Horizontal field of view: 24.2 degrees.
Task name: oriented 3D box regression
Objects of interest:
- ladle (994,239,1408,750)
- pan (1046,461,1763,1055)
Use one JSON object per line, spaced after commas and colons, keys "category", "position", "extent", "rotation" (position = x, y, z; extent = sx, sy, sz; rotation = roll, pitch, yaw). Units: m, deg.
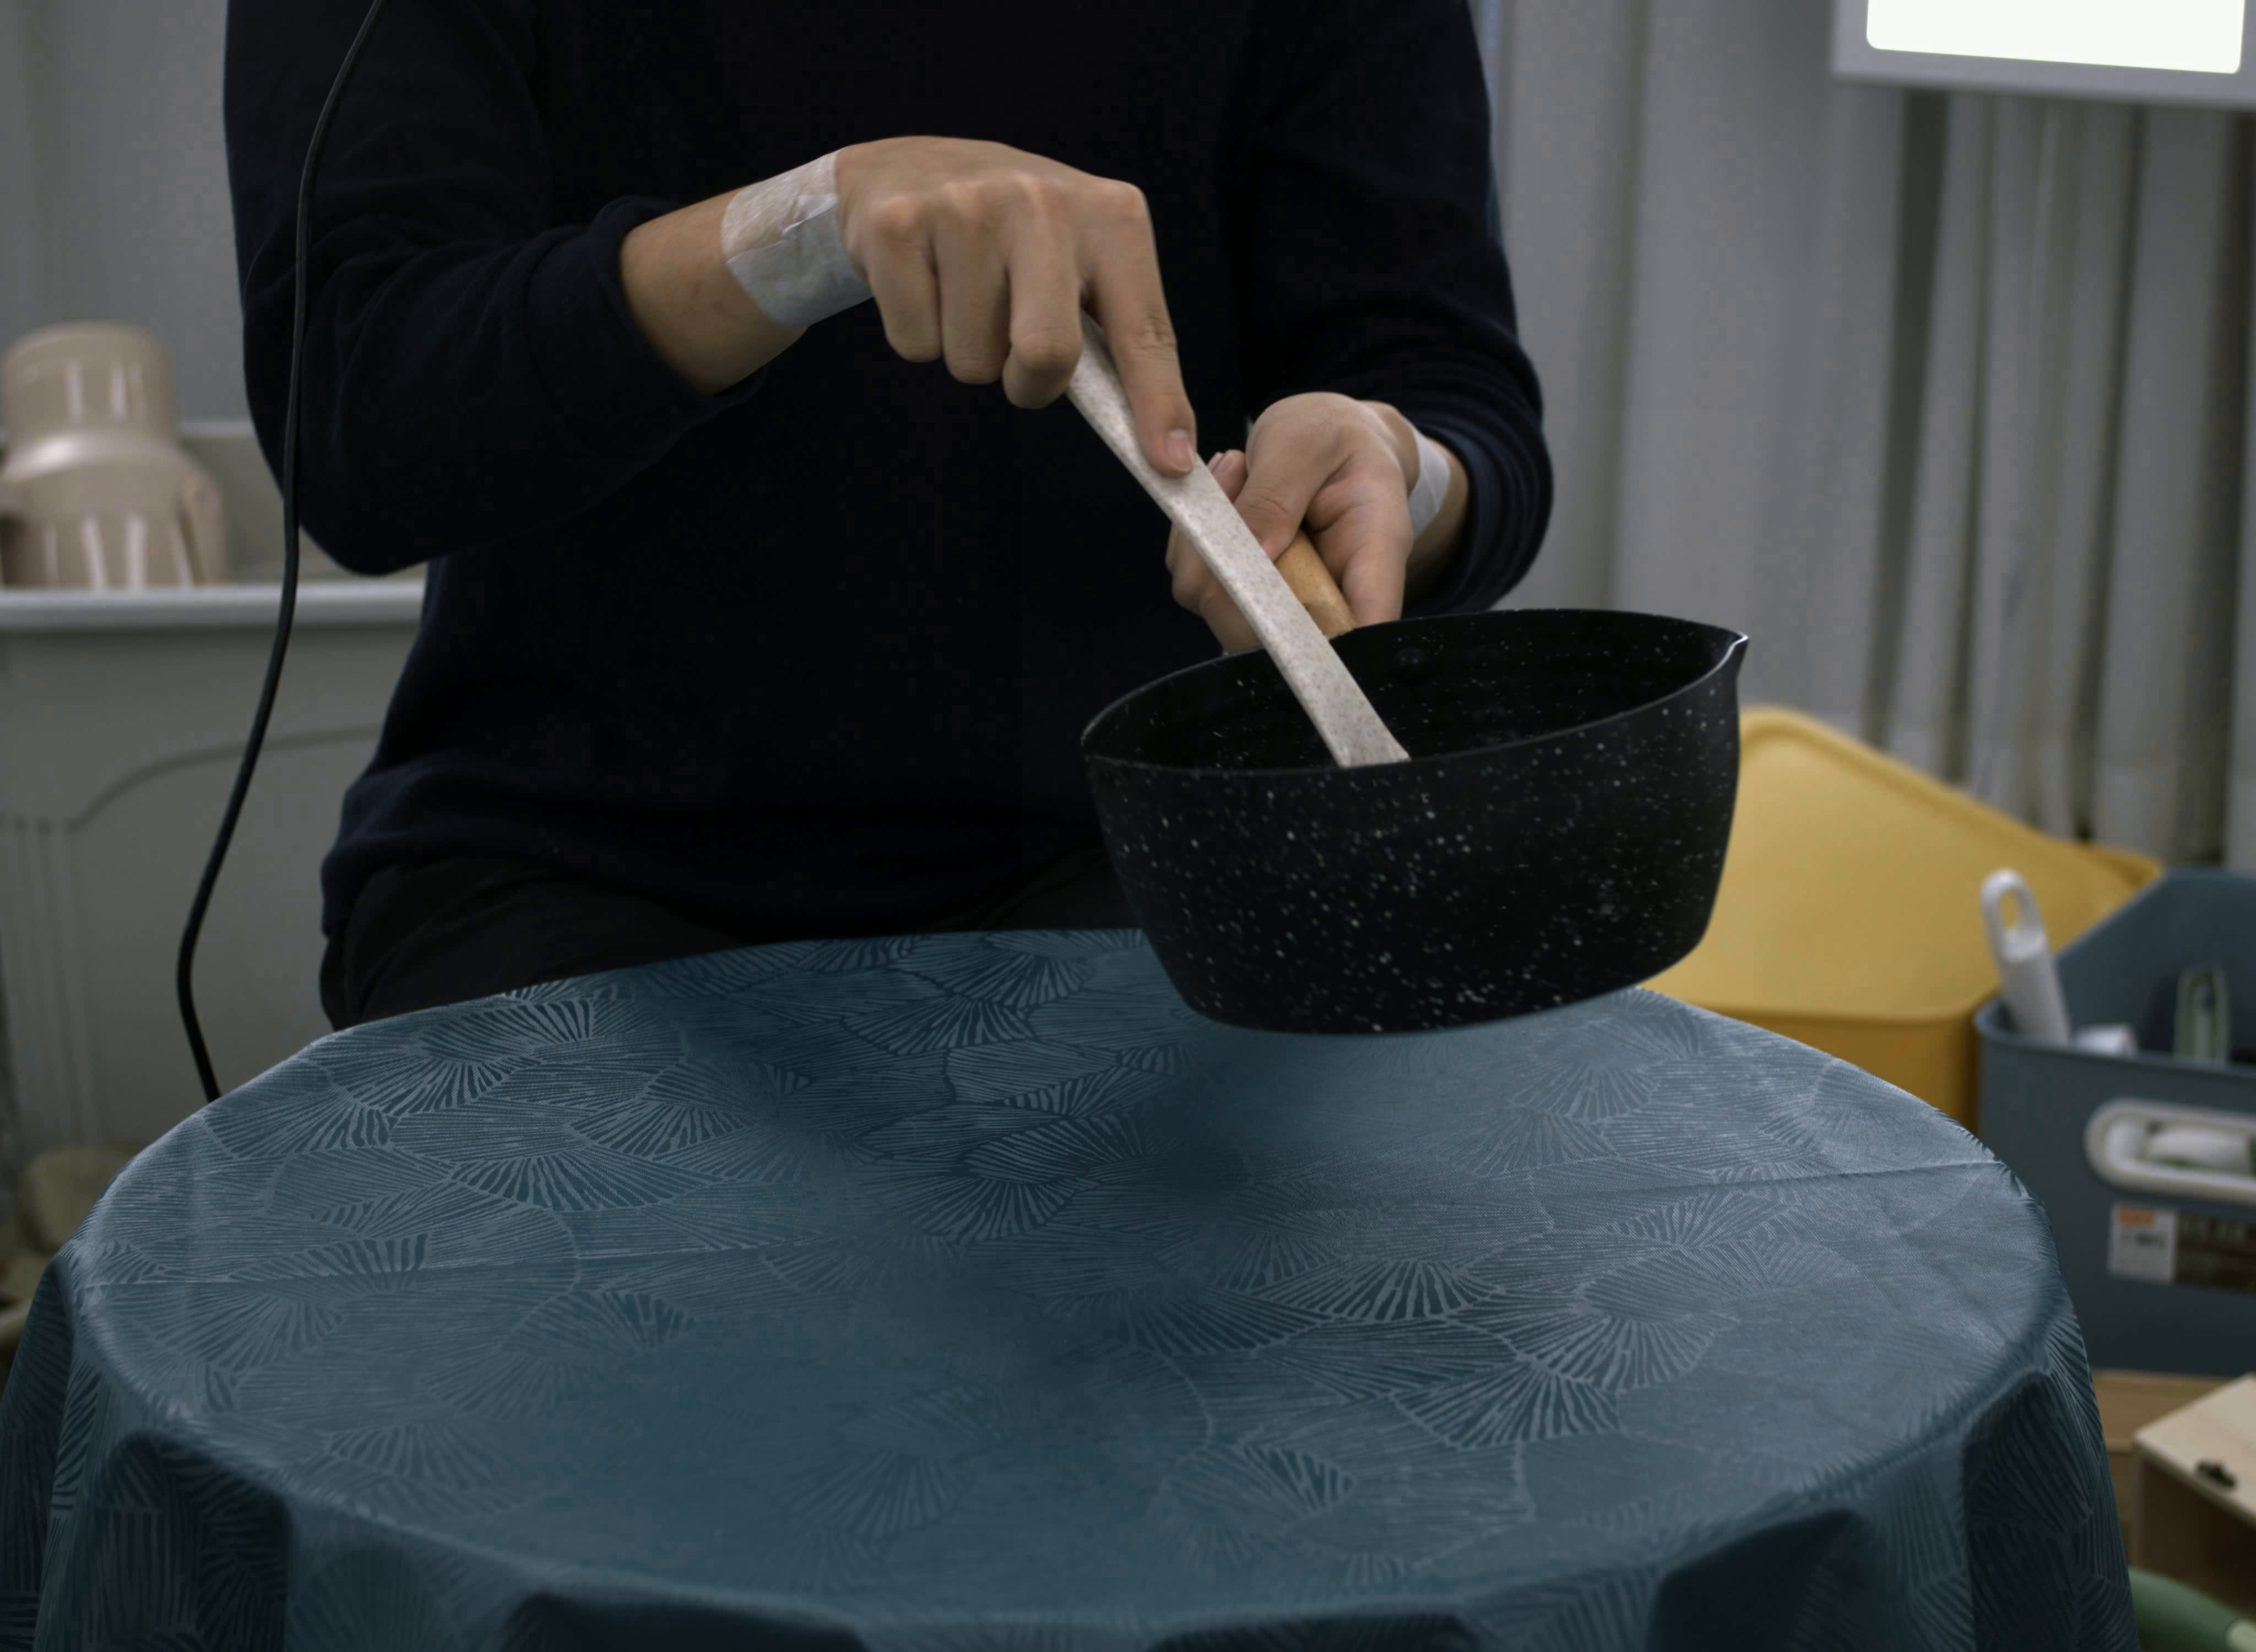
{"category": "ladle", "position": [0.048, -0.078, 1.509], "extent": [0.089, 0.273, 0.069], "rotation": [-23, -16, -34]}
{"category": "pan", "position": [0.071, -0.028, 1.568], "extent": [0.207, 0.109, 0.340], "rotation": [-12, 16, -8]}
